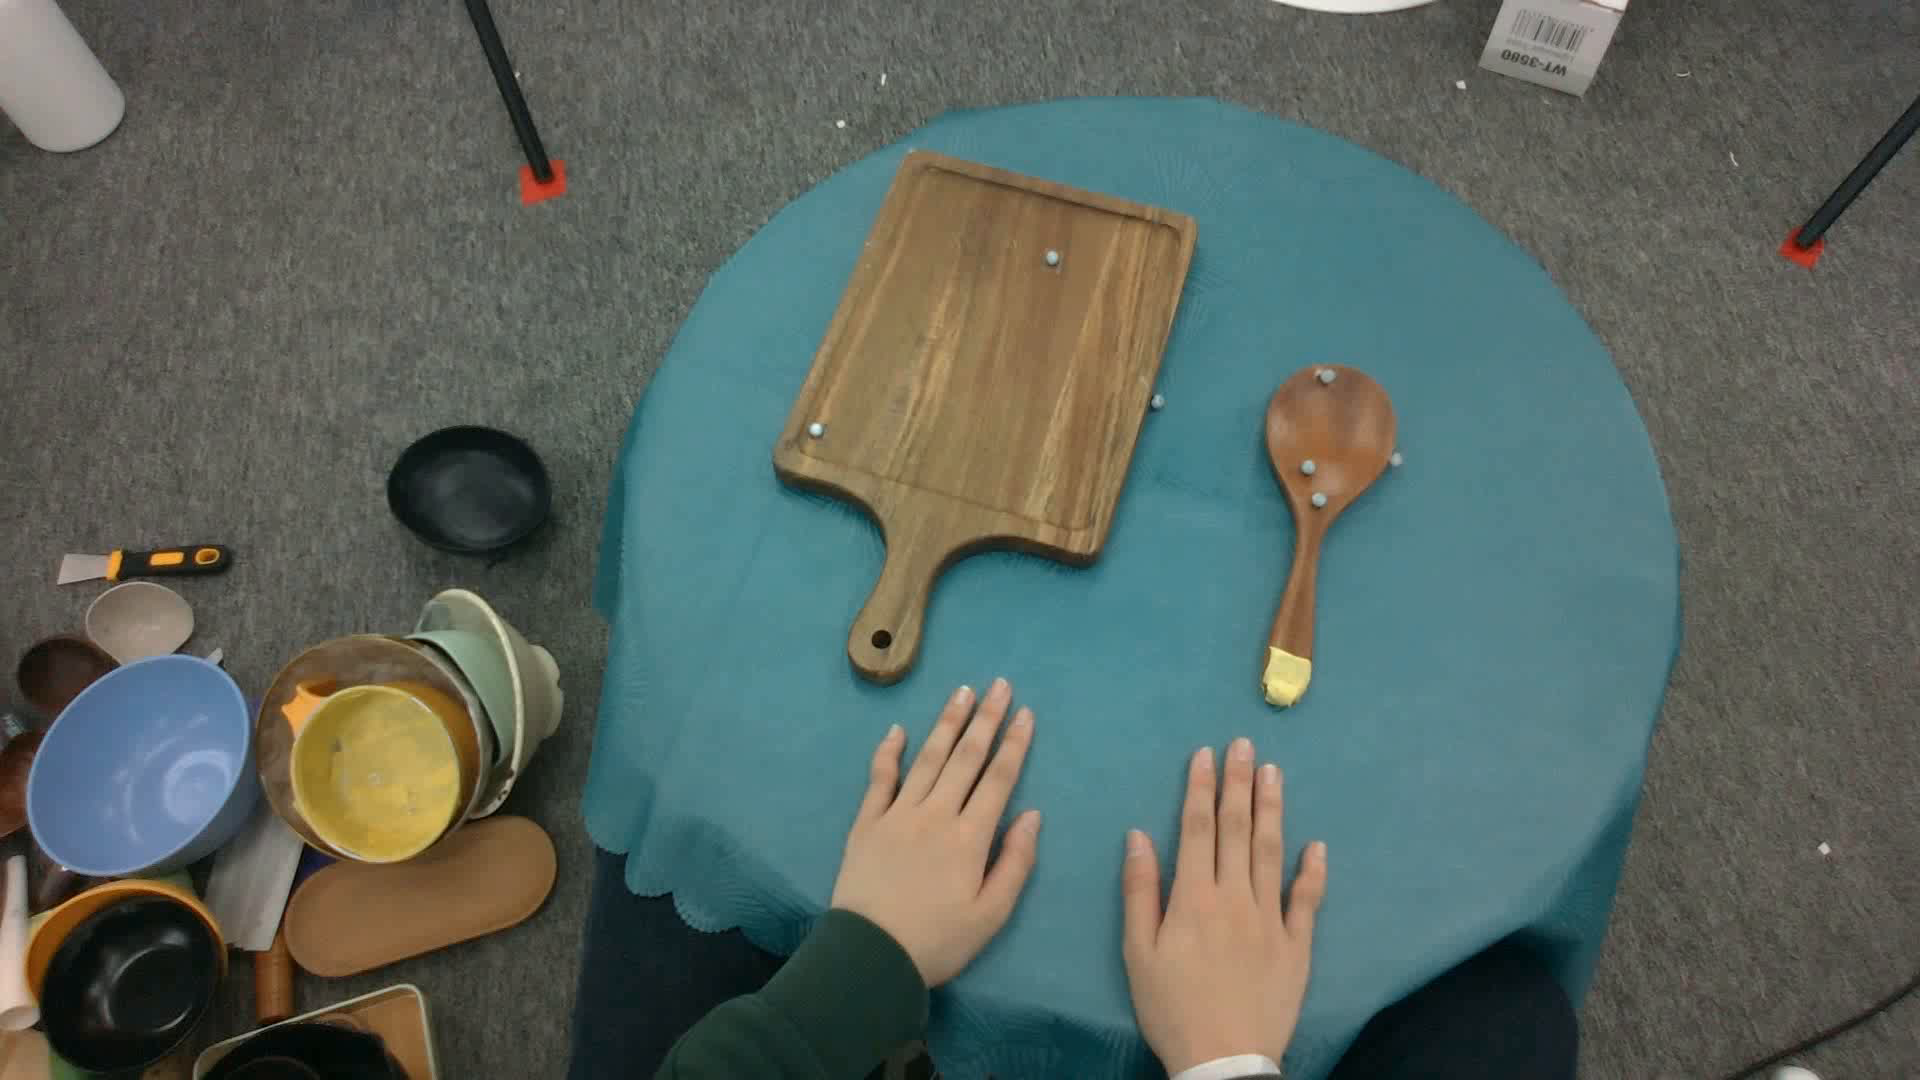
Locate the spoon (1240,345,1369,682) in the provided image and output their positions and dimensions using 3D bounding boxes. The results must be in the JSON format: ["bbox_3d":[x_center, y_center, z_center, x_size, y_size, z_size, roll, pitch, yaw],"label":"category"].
[{"bbox_3d":[0.185,-0.019,0.773,0.075,0.017,0.217,14,63,4],"label":"spoon"}]

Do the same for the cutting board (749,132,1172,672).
[{"bbox_3d":[-0.007,-0.086,0.803,0.201,0.023,0.353,16,64,6],"label":"cutting board"}]
